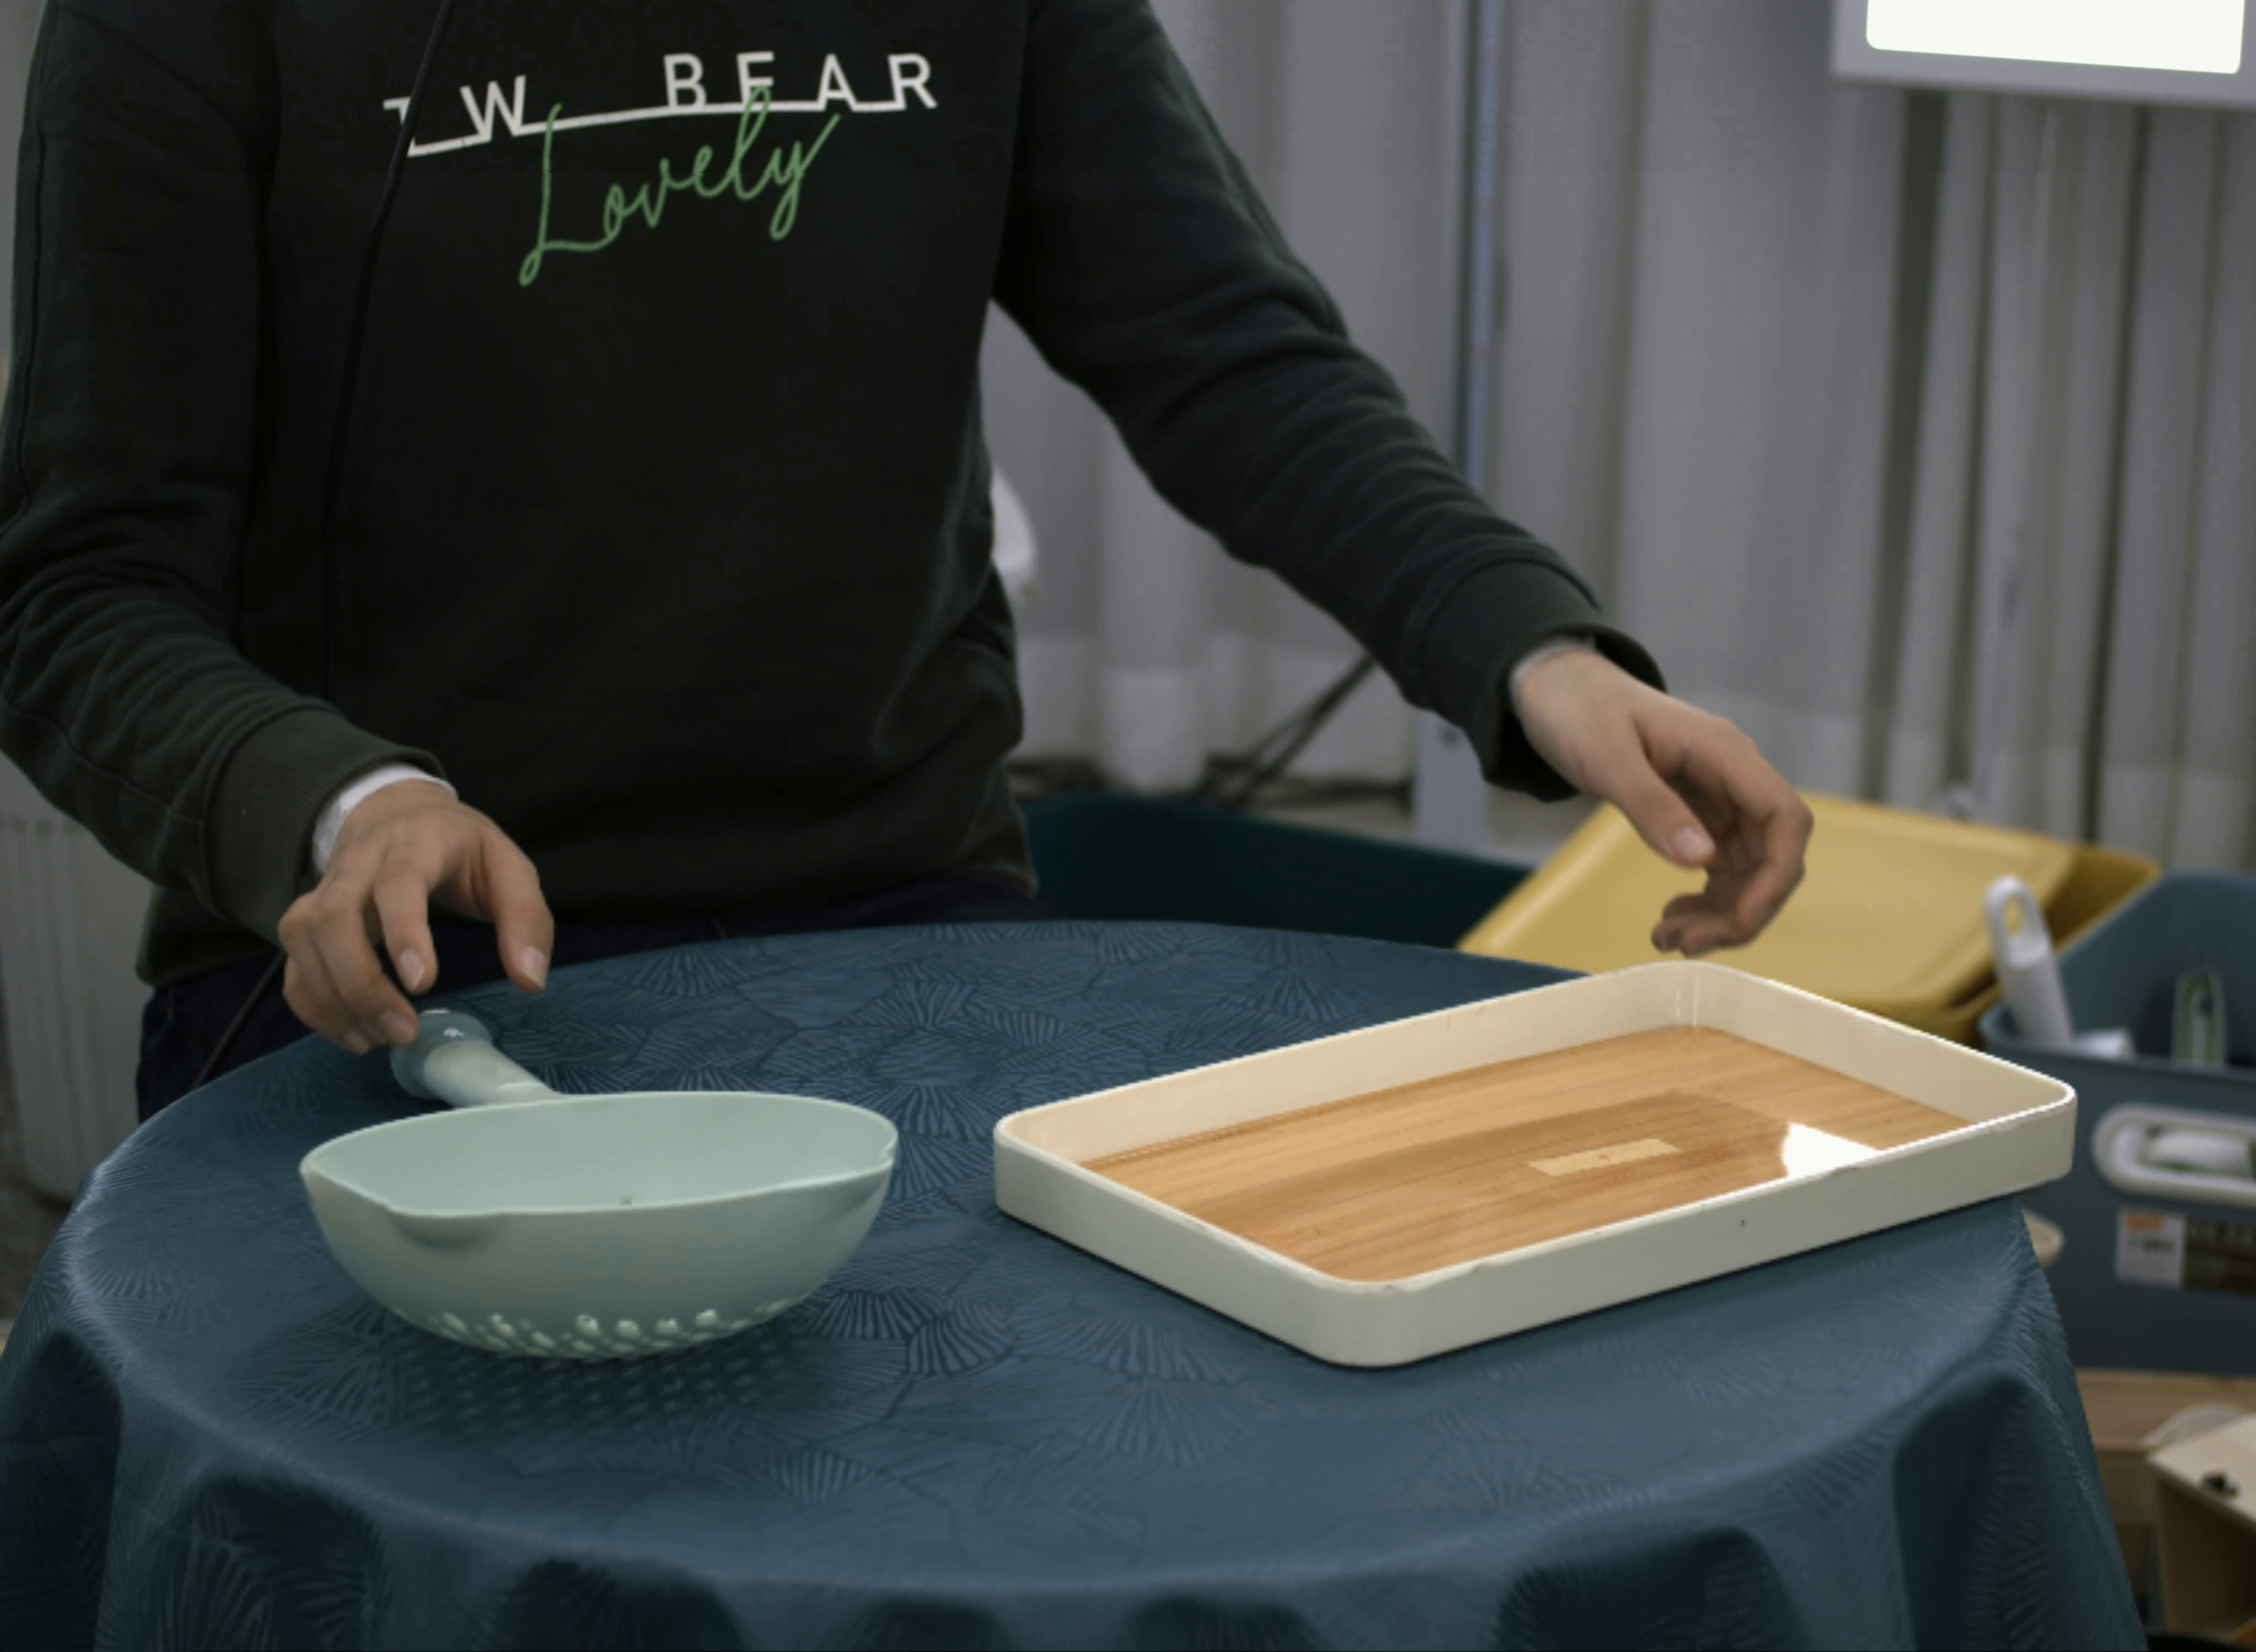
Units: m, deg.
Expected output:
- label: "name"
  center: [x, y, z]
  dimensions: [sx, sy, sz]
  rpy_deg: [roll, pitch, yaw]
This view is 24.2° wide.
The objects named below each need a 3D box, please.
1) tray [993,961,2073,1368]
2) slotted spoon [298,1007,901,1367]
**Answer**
- label: "tray"
  center: [0.127, 0.100, 1.629]
  dimensions: [0.302, 0.027, 0.189]
  rpy_deg: [-11, 20, -36]
- label: "slotted spoon"
  center: [-0.178, 0.091, 1.574]
  dimensions: [0.170, 0.076, 0.355]
  rpy_deg: [-4, 17, -18]
